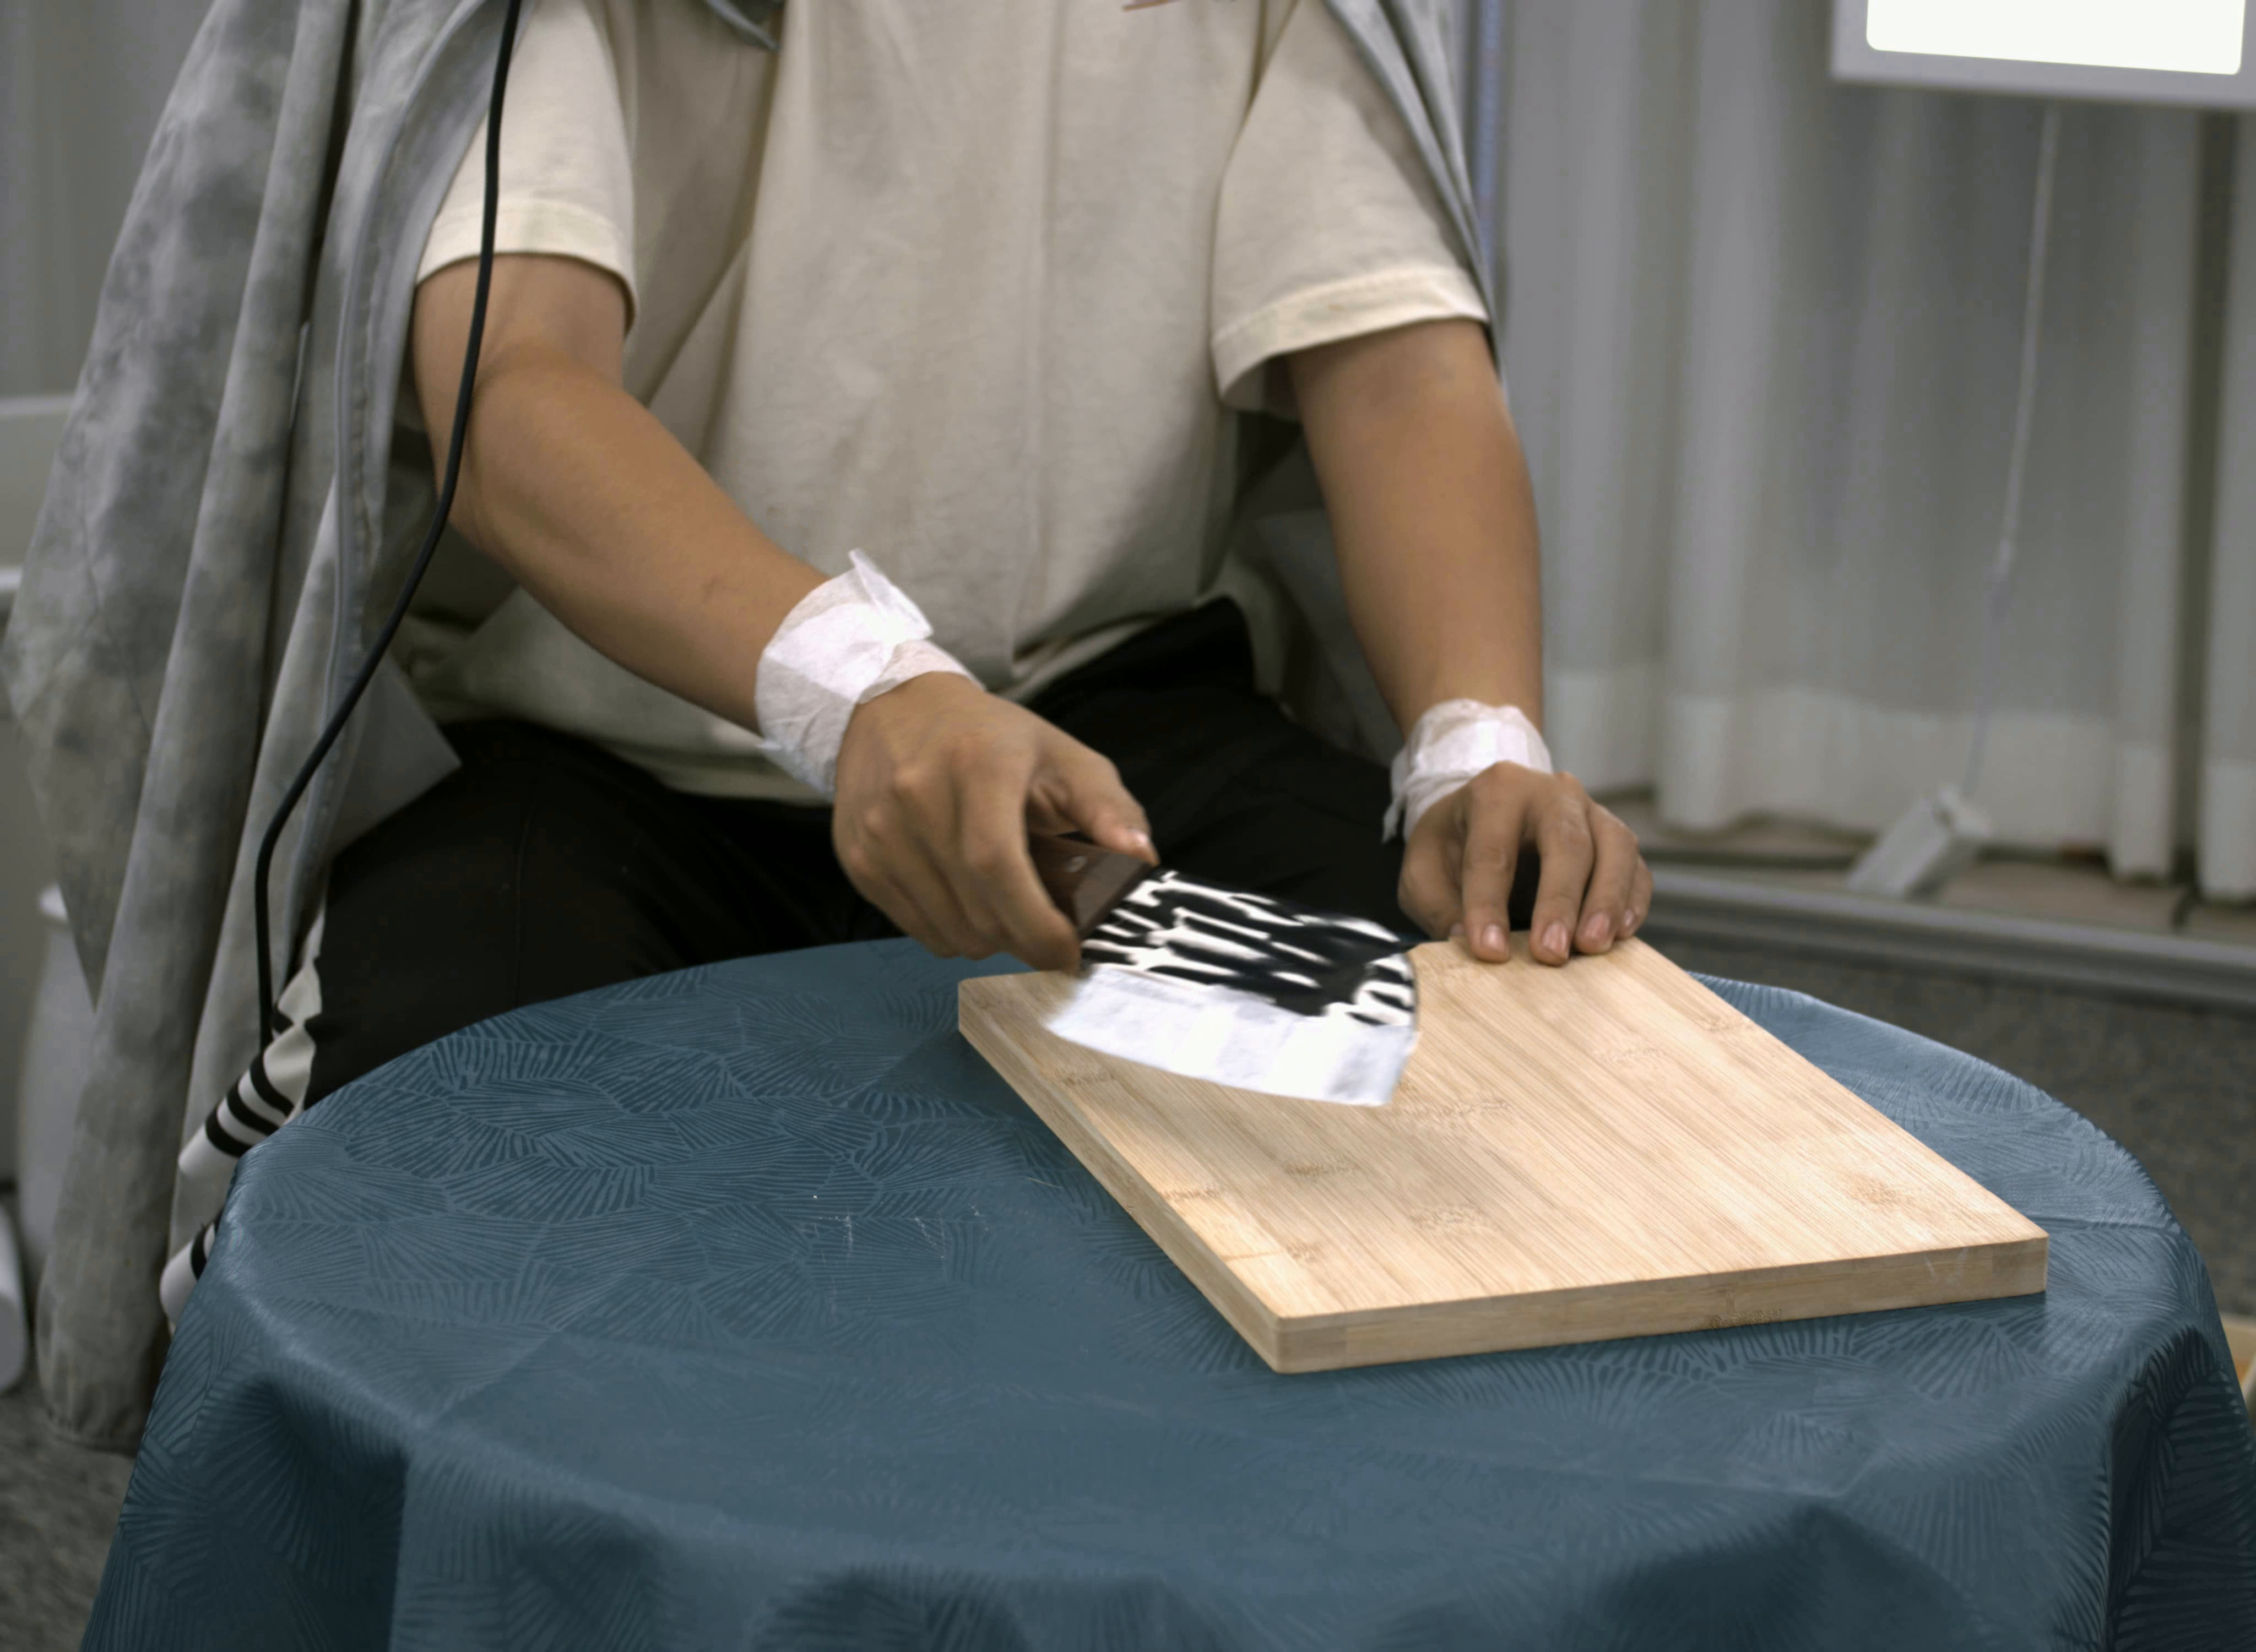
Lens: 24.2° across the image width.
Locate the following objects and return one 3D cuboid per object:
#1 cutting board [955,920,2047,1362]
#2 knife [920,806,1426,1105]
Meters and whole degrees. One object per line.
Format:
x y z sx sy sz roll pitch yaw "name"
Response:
0.105 0.094 1.668 0.251 0.024 0.345 -4 16 -18 "cutting board"
0.007 0.040 1.650 0.068 0.024 0.296 -53 33 -15 "knife"
